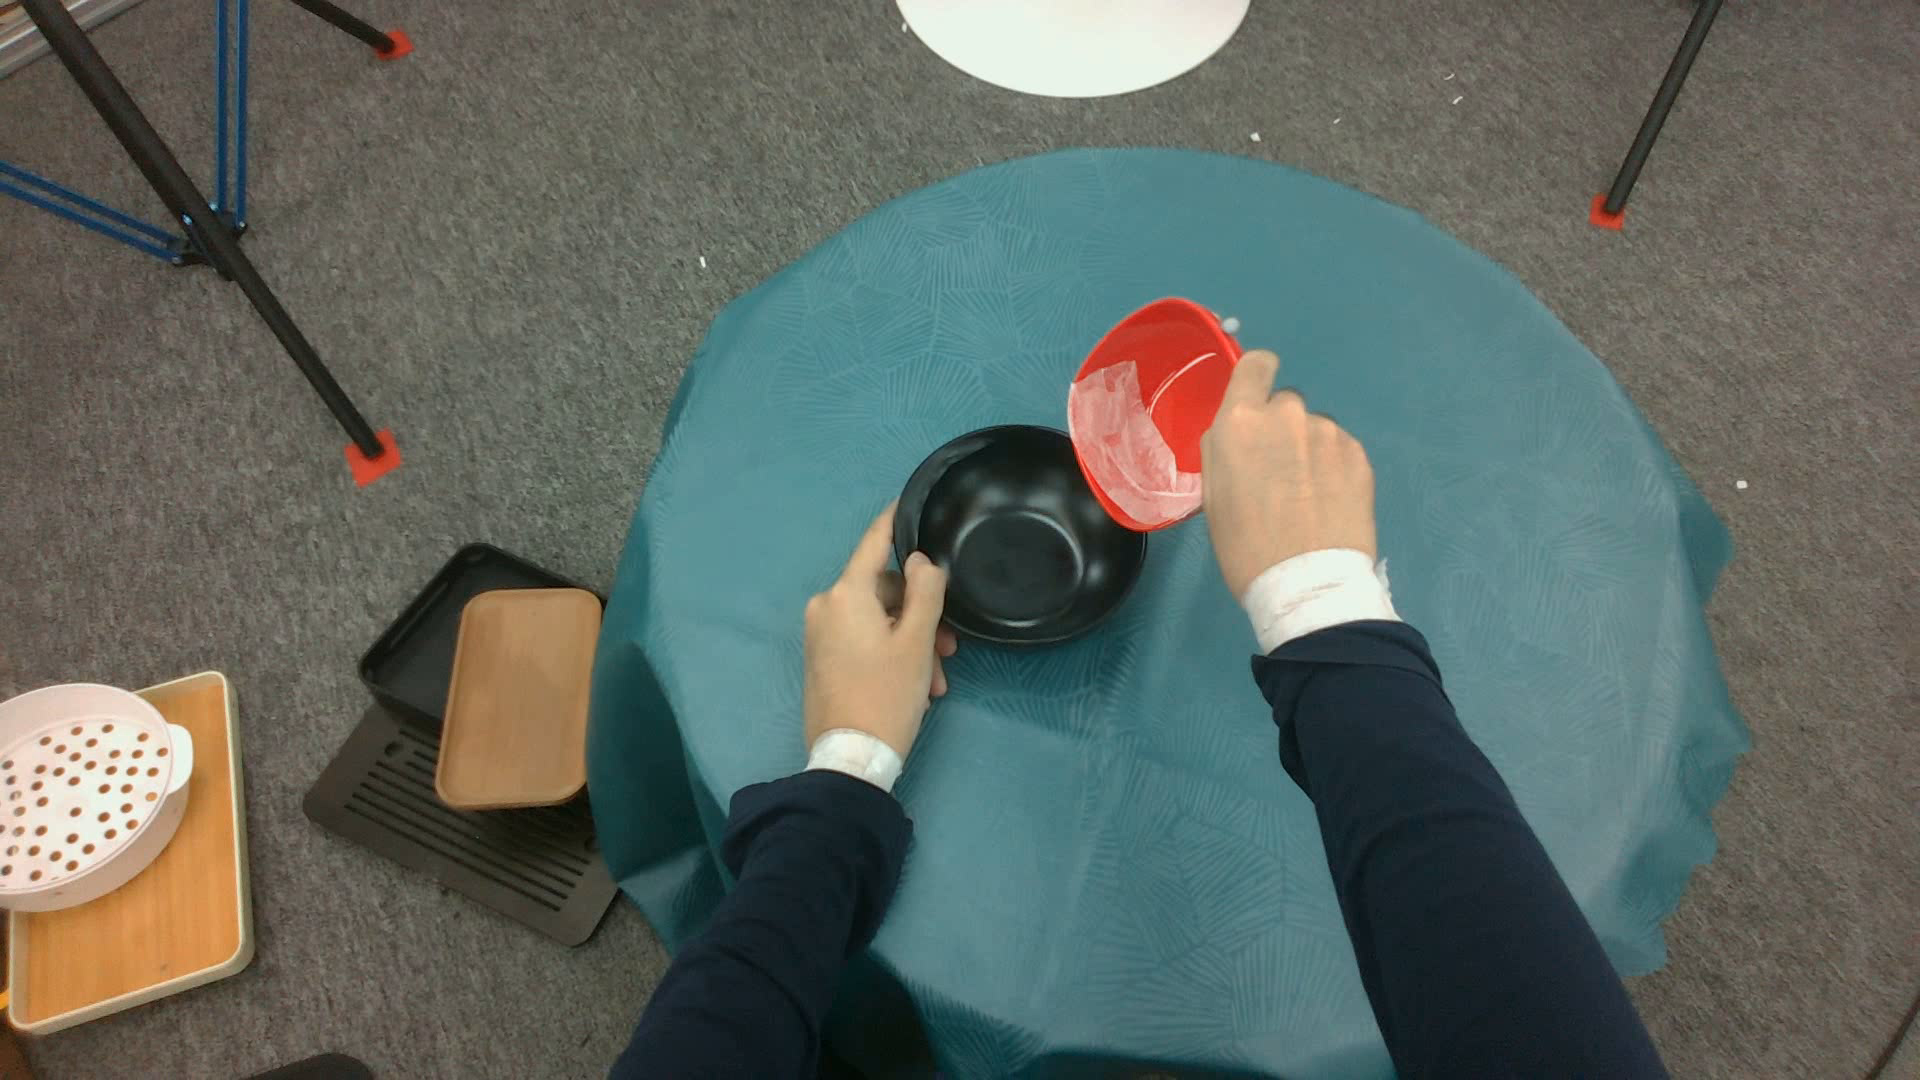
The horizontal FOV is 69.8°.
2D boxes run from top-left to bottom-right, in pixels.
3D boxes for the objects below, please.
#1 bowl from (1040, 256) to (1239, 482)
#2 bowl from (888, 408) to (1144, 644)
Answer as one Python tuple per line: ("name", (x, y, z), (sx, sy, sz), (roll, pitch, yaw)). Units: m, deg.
("bowl", (0.099, -0.081, 0.703), (0.051, 0.118, 0.119), (16, 47, -44))
("bowl", (0.030, -0.001, 0.764), (0.140, 0.049, 0.140), (0, 65, 0))
